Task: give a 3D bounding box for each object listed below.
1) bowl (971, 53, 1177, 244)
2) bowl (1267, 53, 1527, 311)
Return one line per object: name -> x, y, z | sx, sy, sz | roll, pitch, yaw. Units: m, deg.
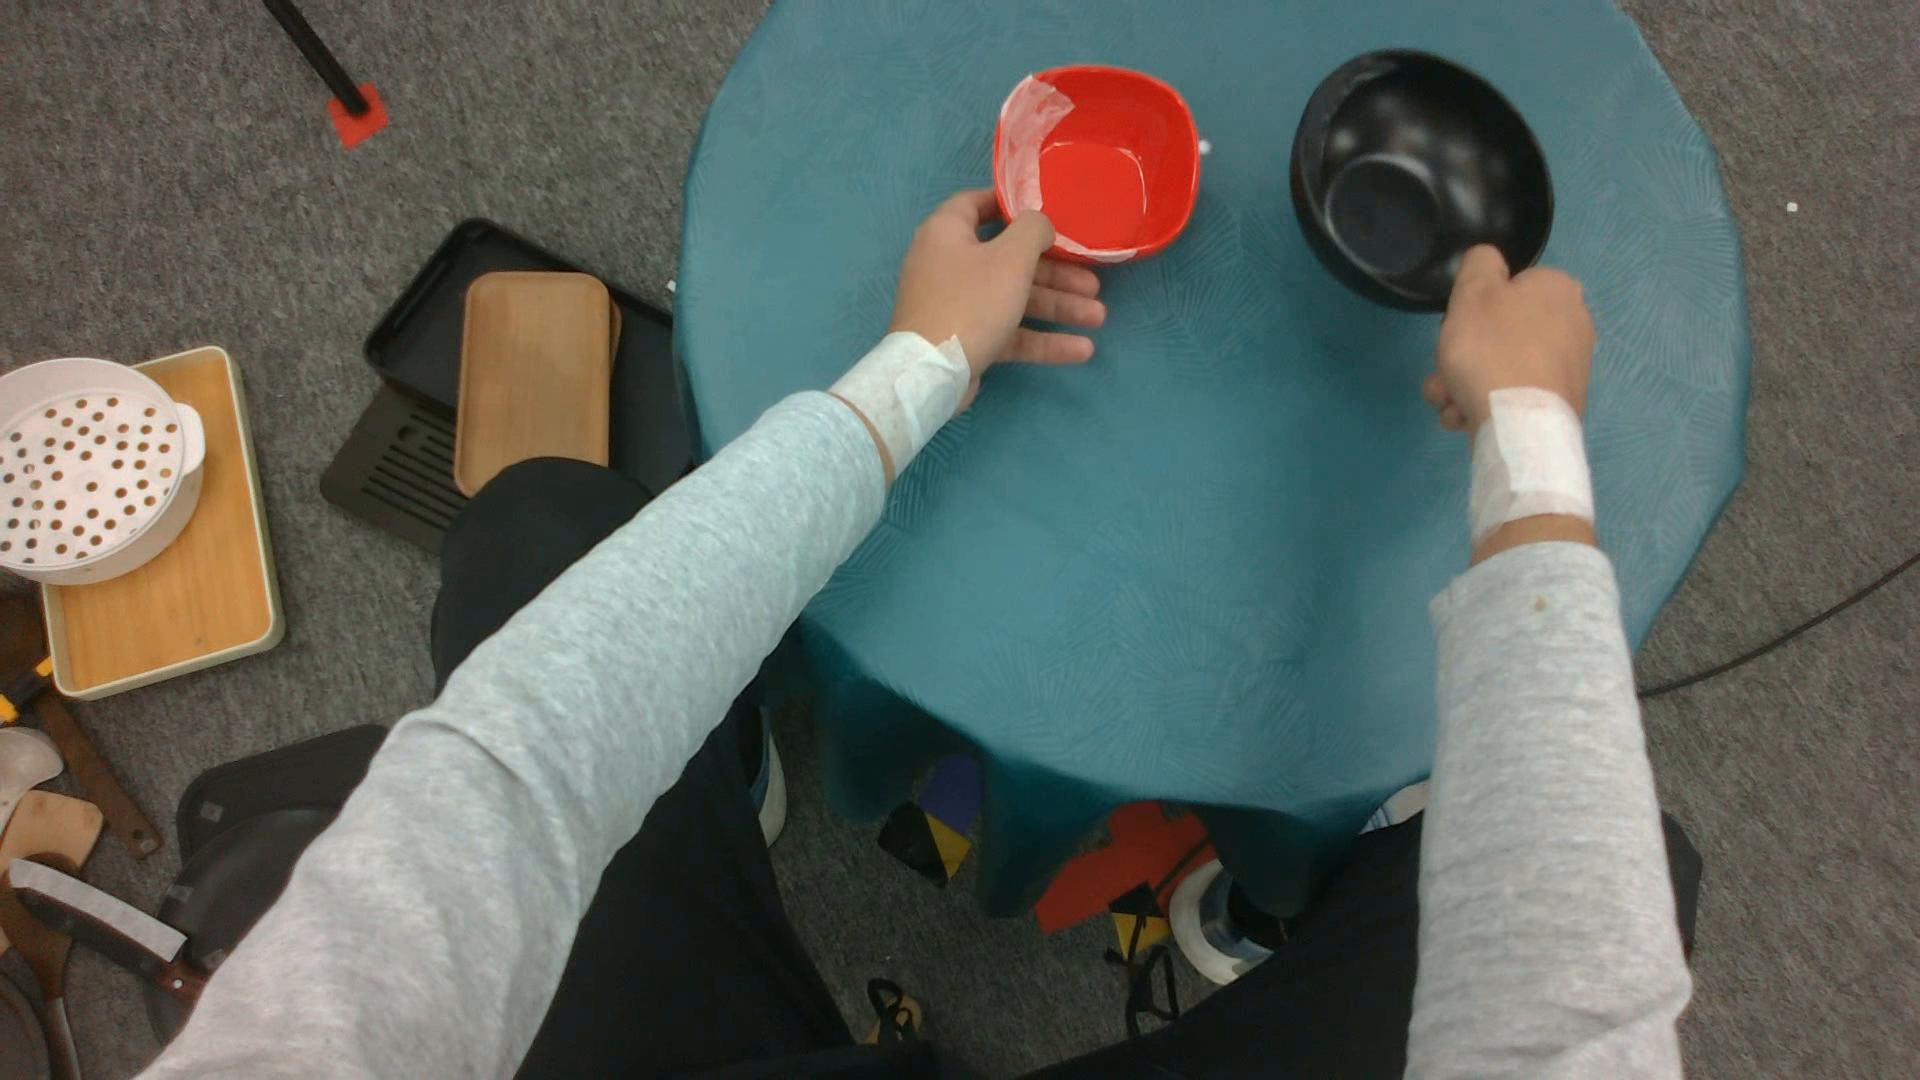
bowl -> 0.059, -0.204, 0.752 | 0.119, 0.051, 0.119 | 1, 72, -3
bowl -> 0.218, -0.178, 0.716 | 0.140, 0.049, 0.140 | 3, 77, -11
